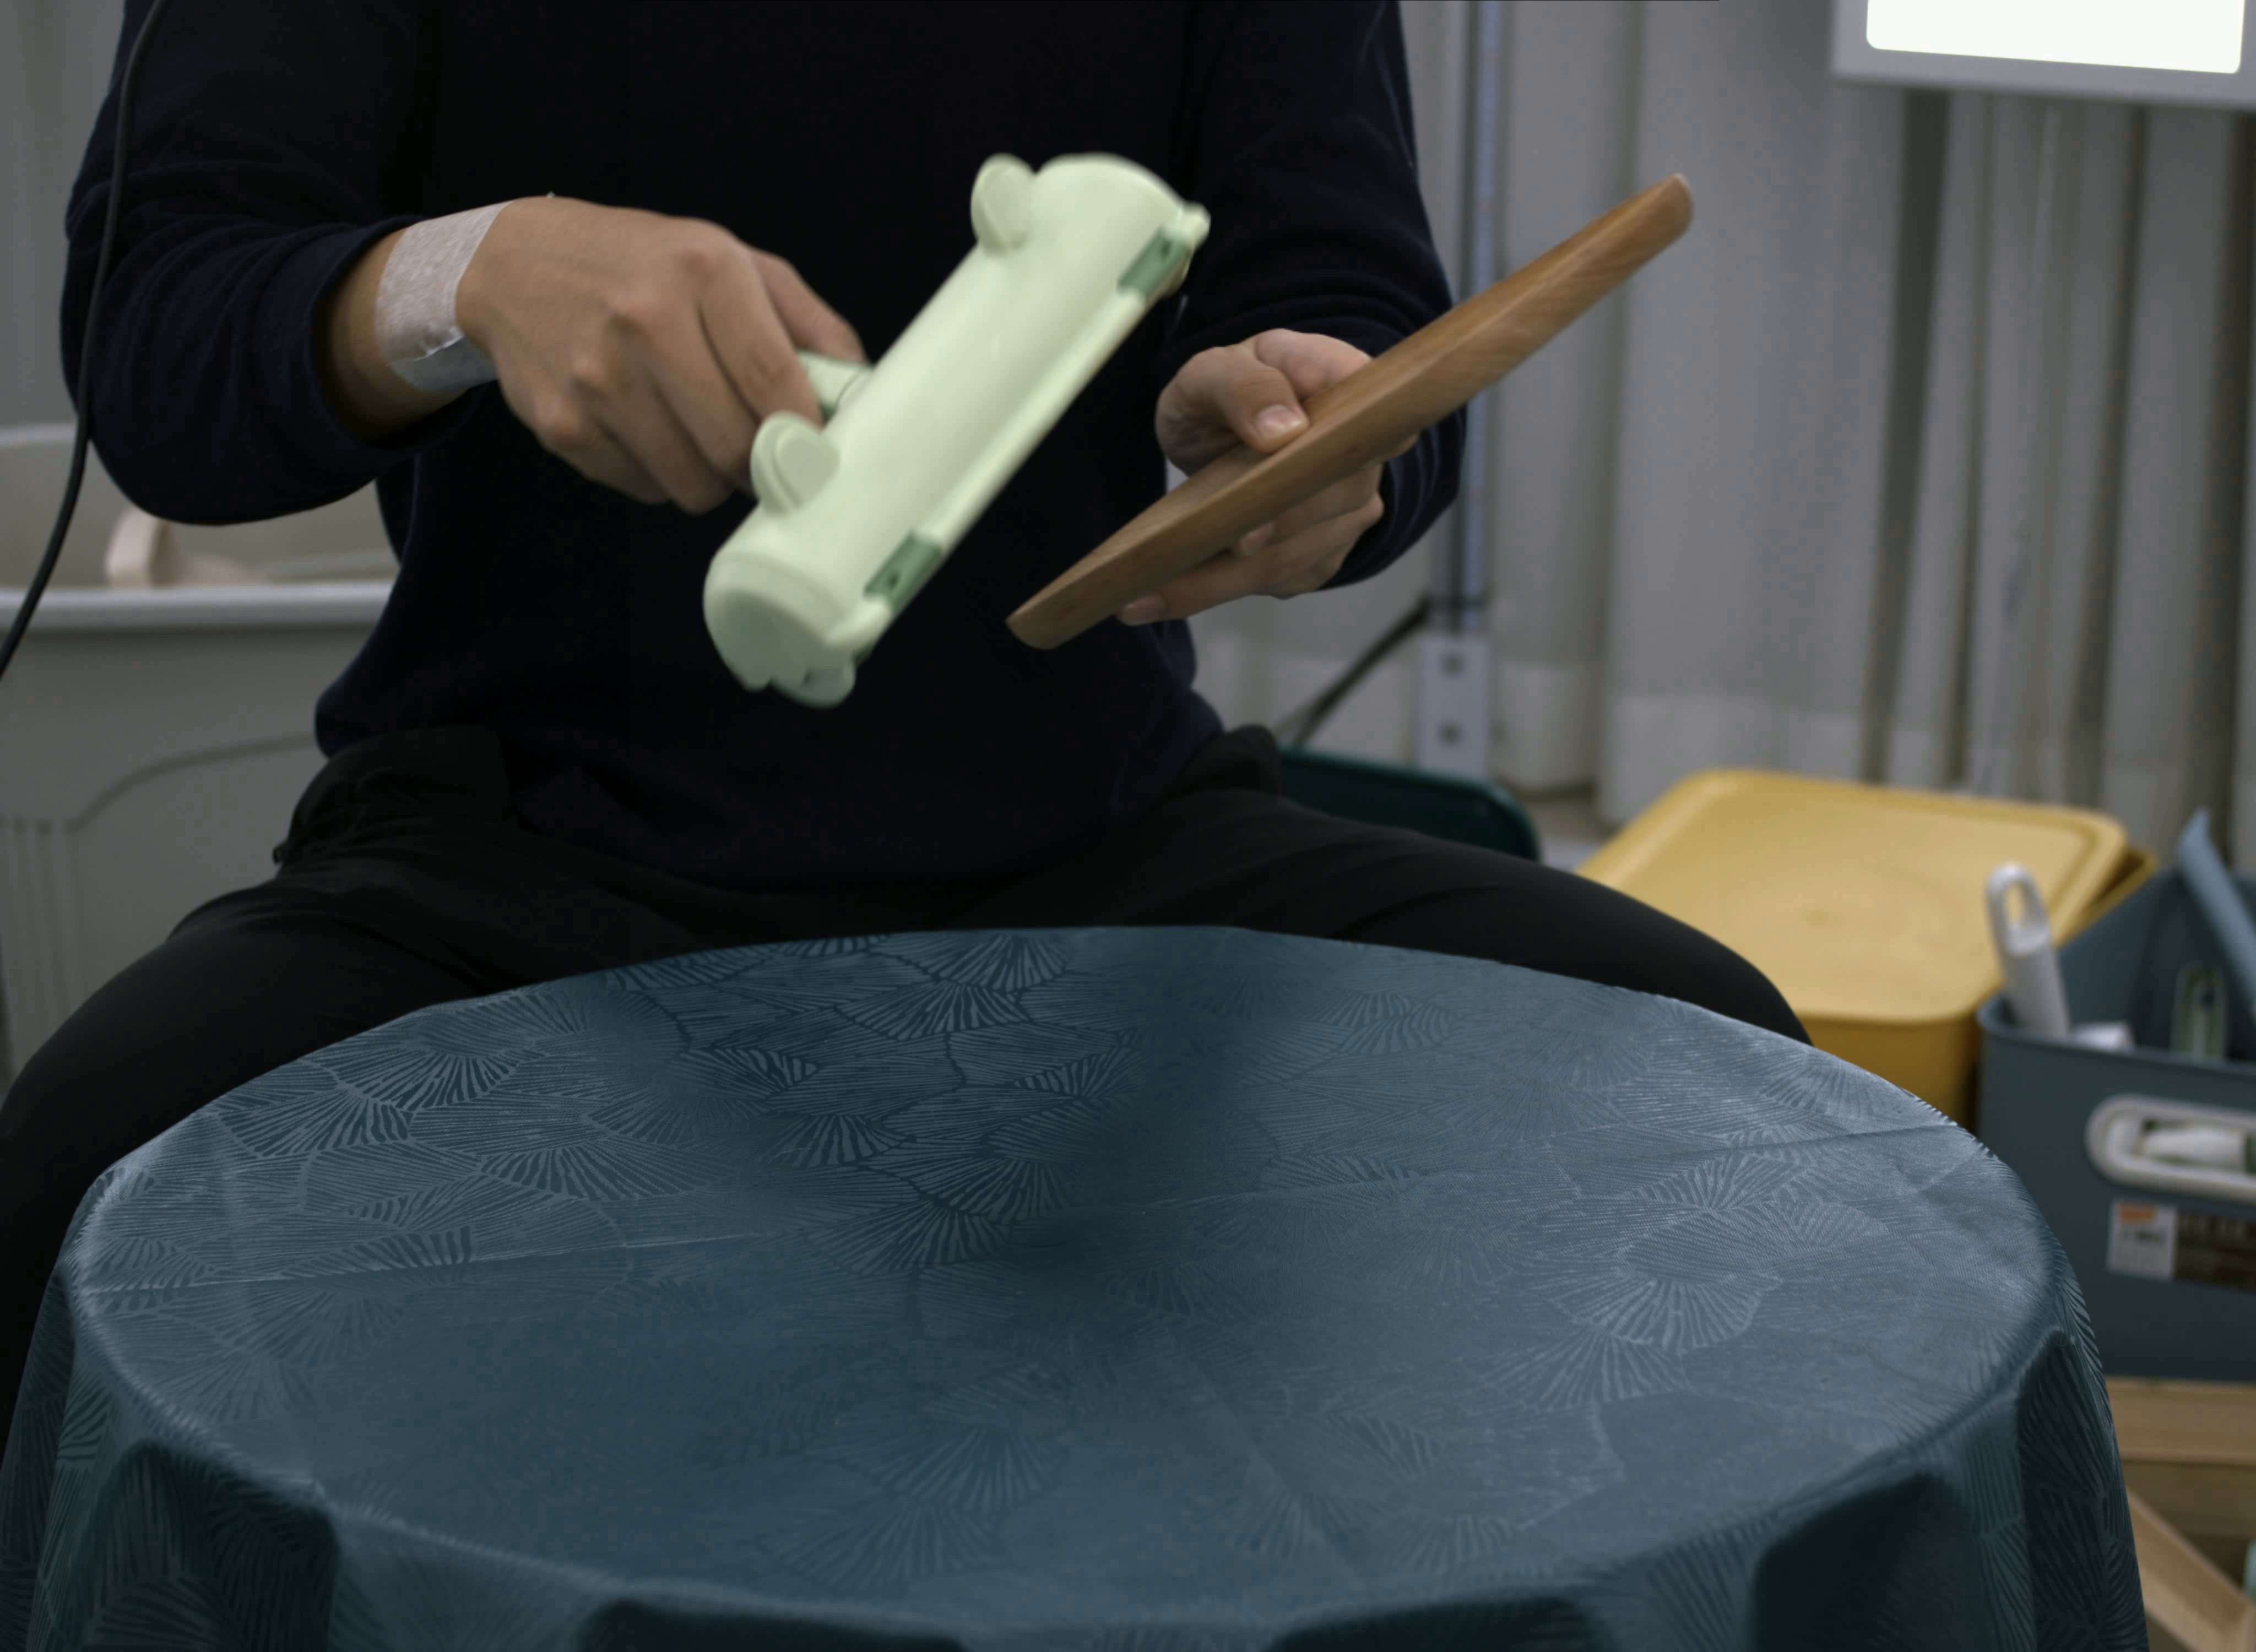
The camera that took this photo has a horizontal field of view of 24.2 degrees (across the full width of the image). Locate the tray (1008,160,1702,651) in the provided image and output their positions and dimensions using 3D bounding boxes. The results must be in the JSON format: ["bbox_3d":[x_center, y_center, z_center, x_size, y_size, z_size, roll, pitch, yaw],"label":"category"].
[{"bbox_3d":[0.063,-0.117,1.522,0.130,0.023,0.249,-37,4,-36],"label":"tray"}]

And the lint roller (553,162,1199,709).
[{"bbox_3d":[-0.102,-0.136,1.545,0.181,0.083,0.198,20,55,26],"label":"lint roller"}]
